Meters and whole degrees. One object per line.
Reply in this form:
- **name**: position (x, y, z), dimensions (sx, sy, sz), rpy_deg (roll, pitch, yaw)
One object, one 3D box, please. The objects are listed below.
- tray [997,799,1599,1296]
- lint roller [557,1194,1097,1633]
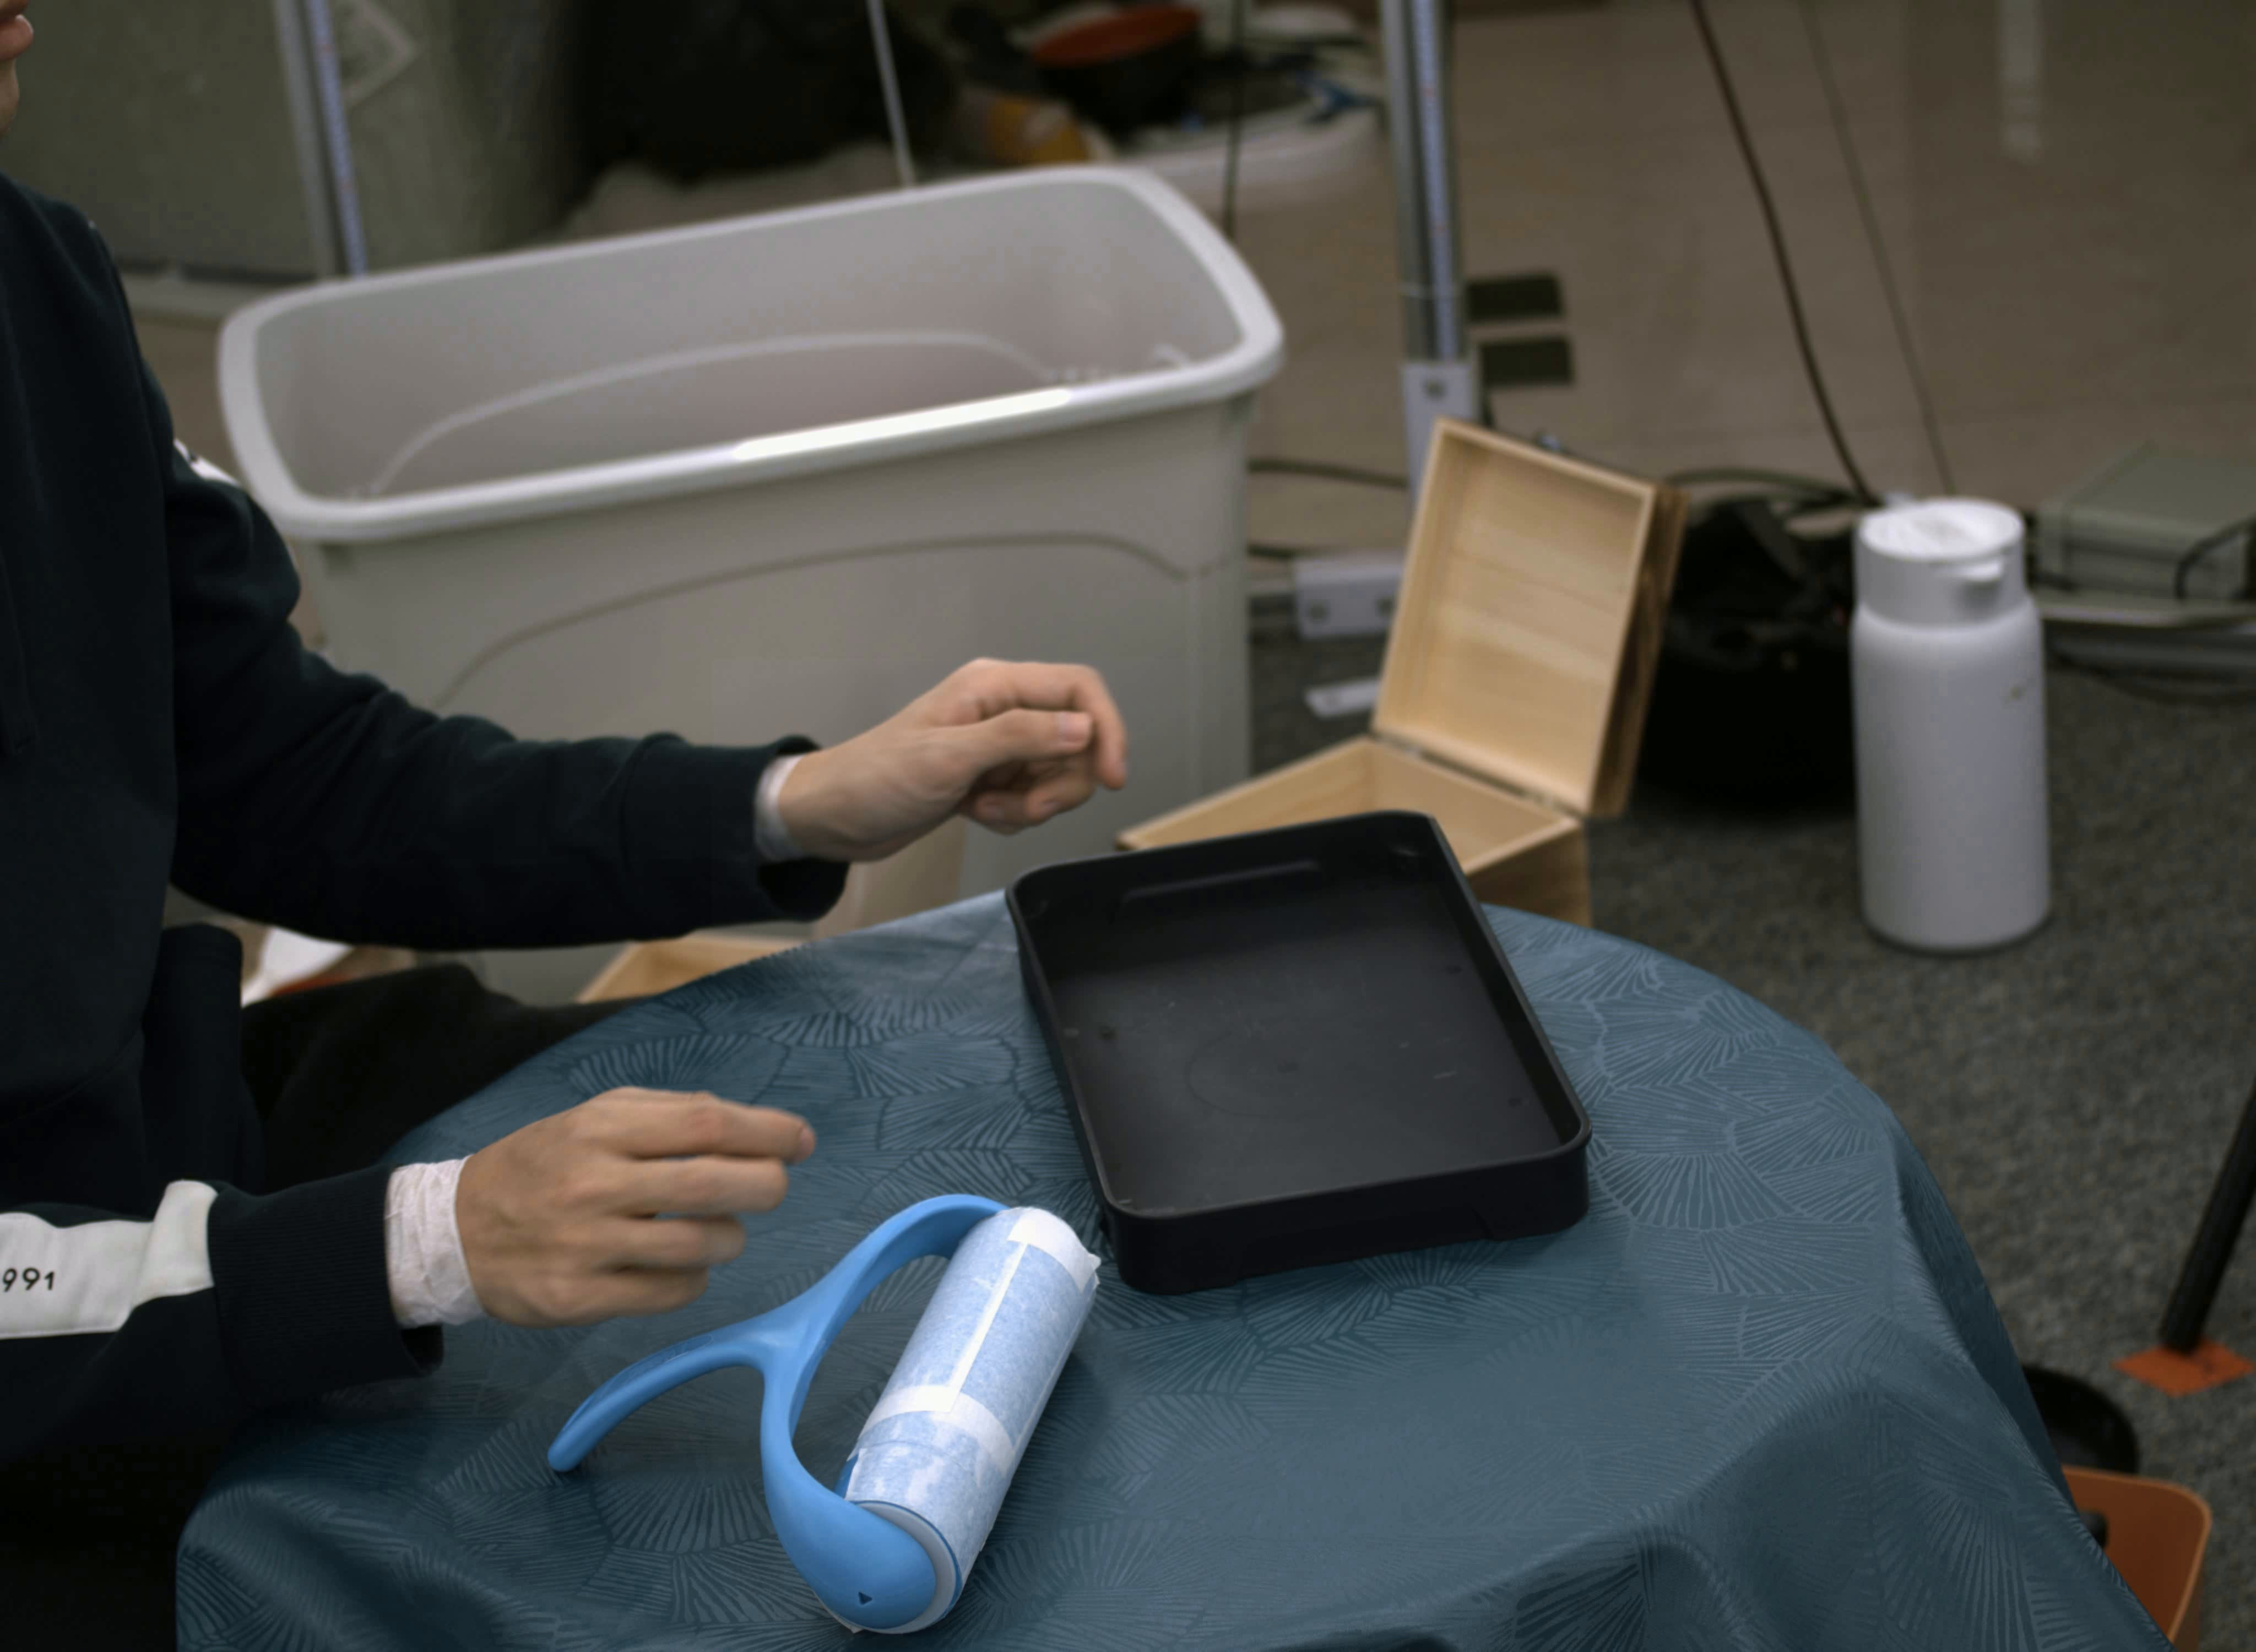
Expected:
- **tray**: position (0.061, 0.081, 2.212), dimensions (0.184, 0.037, 0.313), rpy_deg (-10, 26, -6)
- **lint roller**: position (-0.116, 0.202, 1.970), dimensions (0.180, 0.069, 0.225), rpy_deg (0, 28, 12)
